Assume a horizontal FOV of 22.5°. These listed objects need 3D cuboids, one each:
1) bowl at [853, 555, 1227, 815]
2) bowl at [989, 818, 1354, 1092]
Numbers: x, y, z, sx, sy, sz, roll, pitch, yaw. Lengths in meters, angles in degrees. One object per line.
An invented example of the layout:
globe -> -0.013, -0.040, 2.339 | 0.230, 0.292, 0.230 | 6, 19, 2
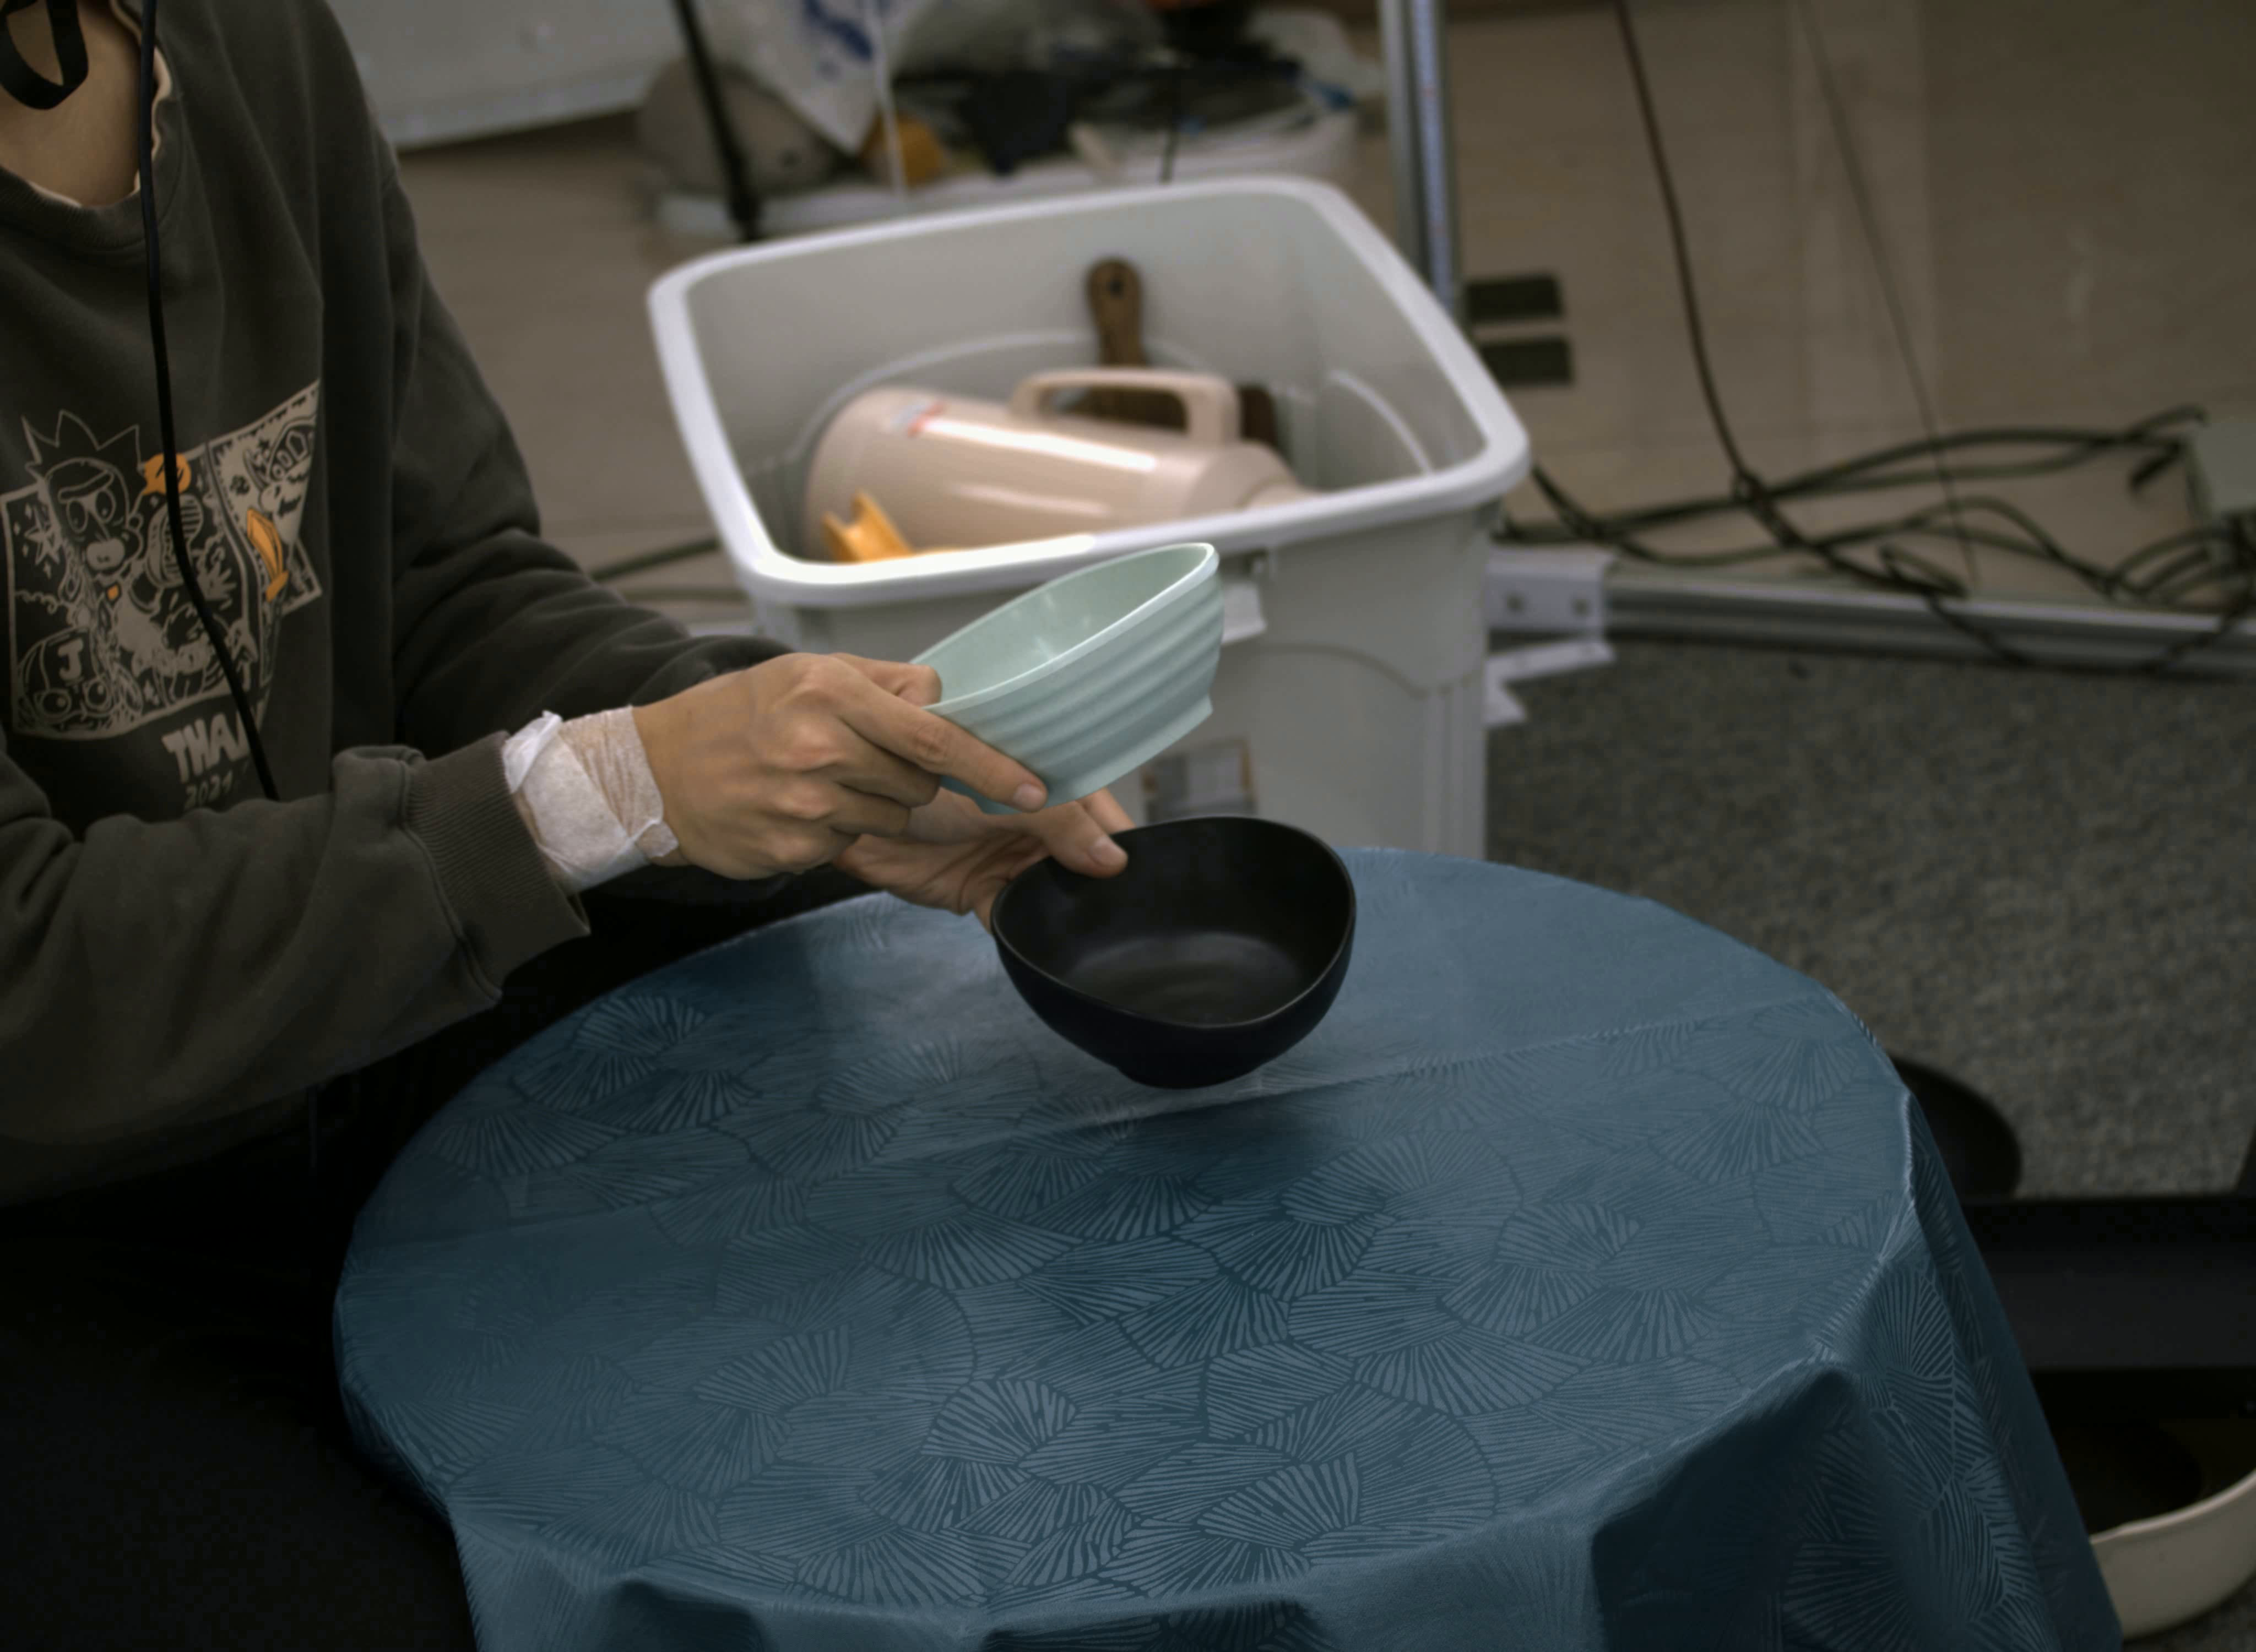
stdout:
bowl -> -0.024, -0.048, 2.141 | 0.151, 0.059, 0.150 | -22, 11, 5
bowl -> 0.022, 0.058, 2.197 | 0.137, 0.068, 0.168 | -19, 29, -17
